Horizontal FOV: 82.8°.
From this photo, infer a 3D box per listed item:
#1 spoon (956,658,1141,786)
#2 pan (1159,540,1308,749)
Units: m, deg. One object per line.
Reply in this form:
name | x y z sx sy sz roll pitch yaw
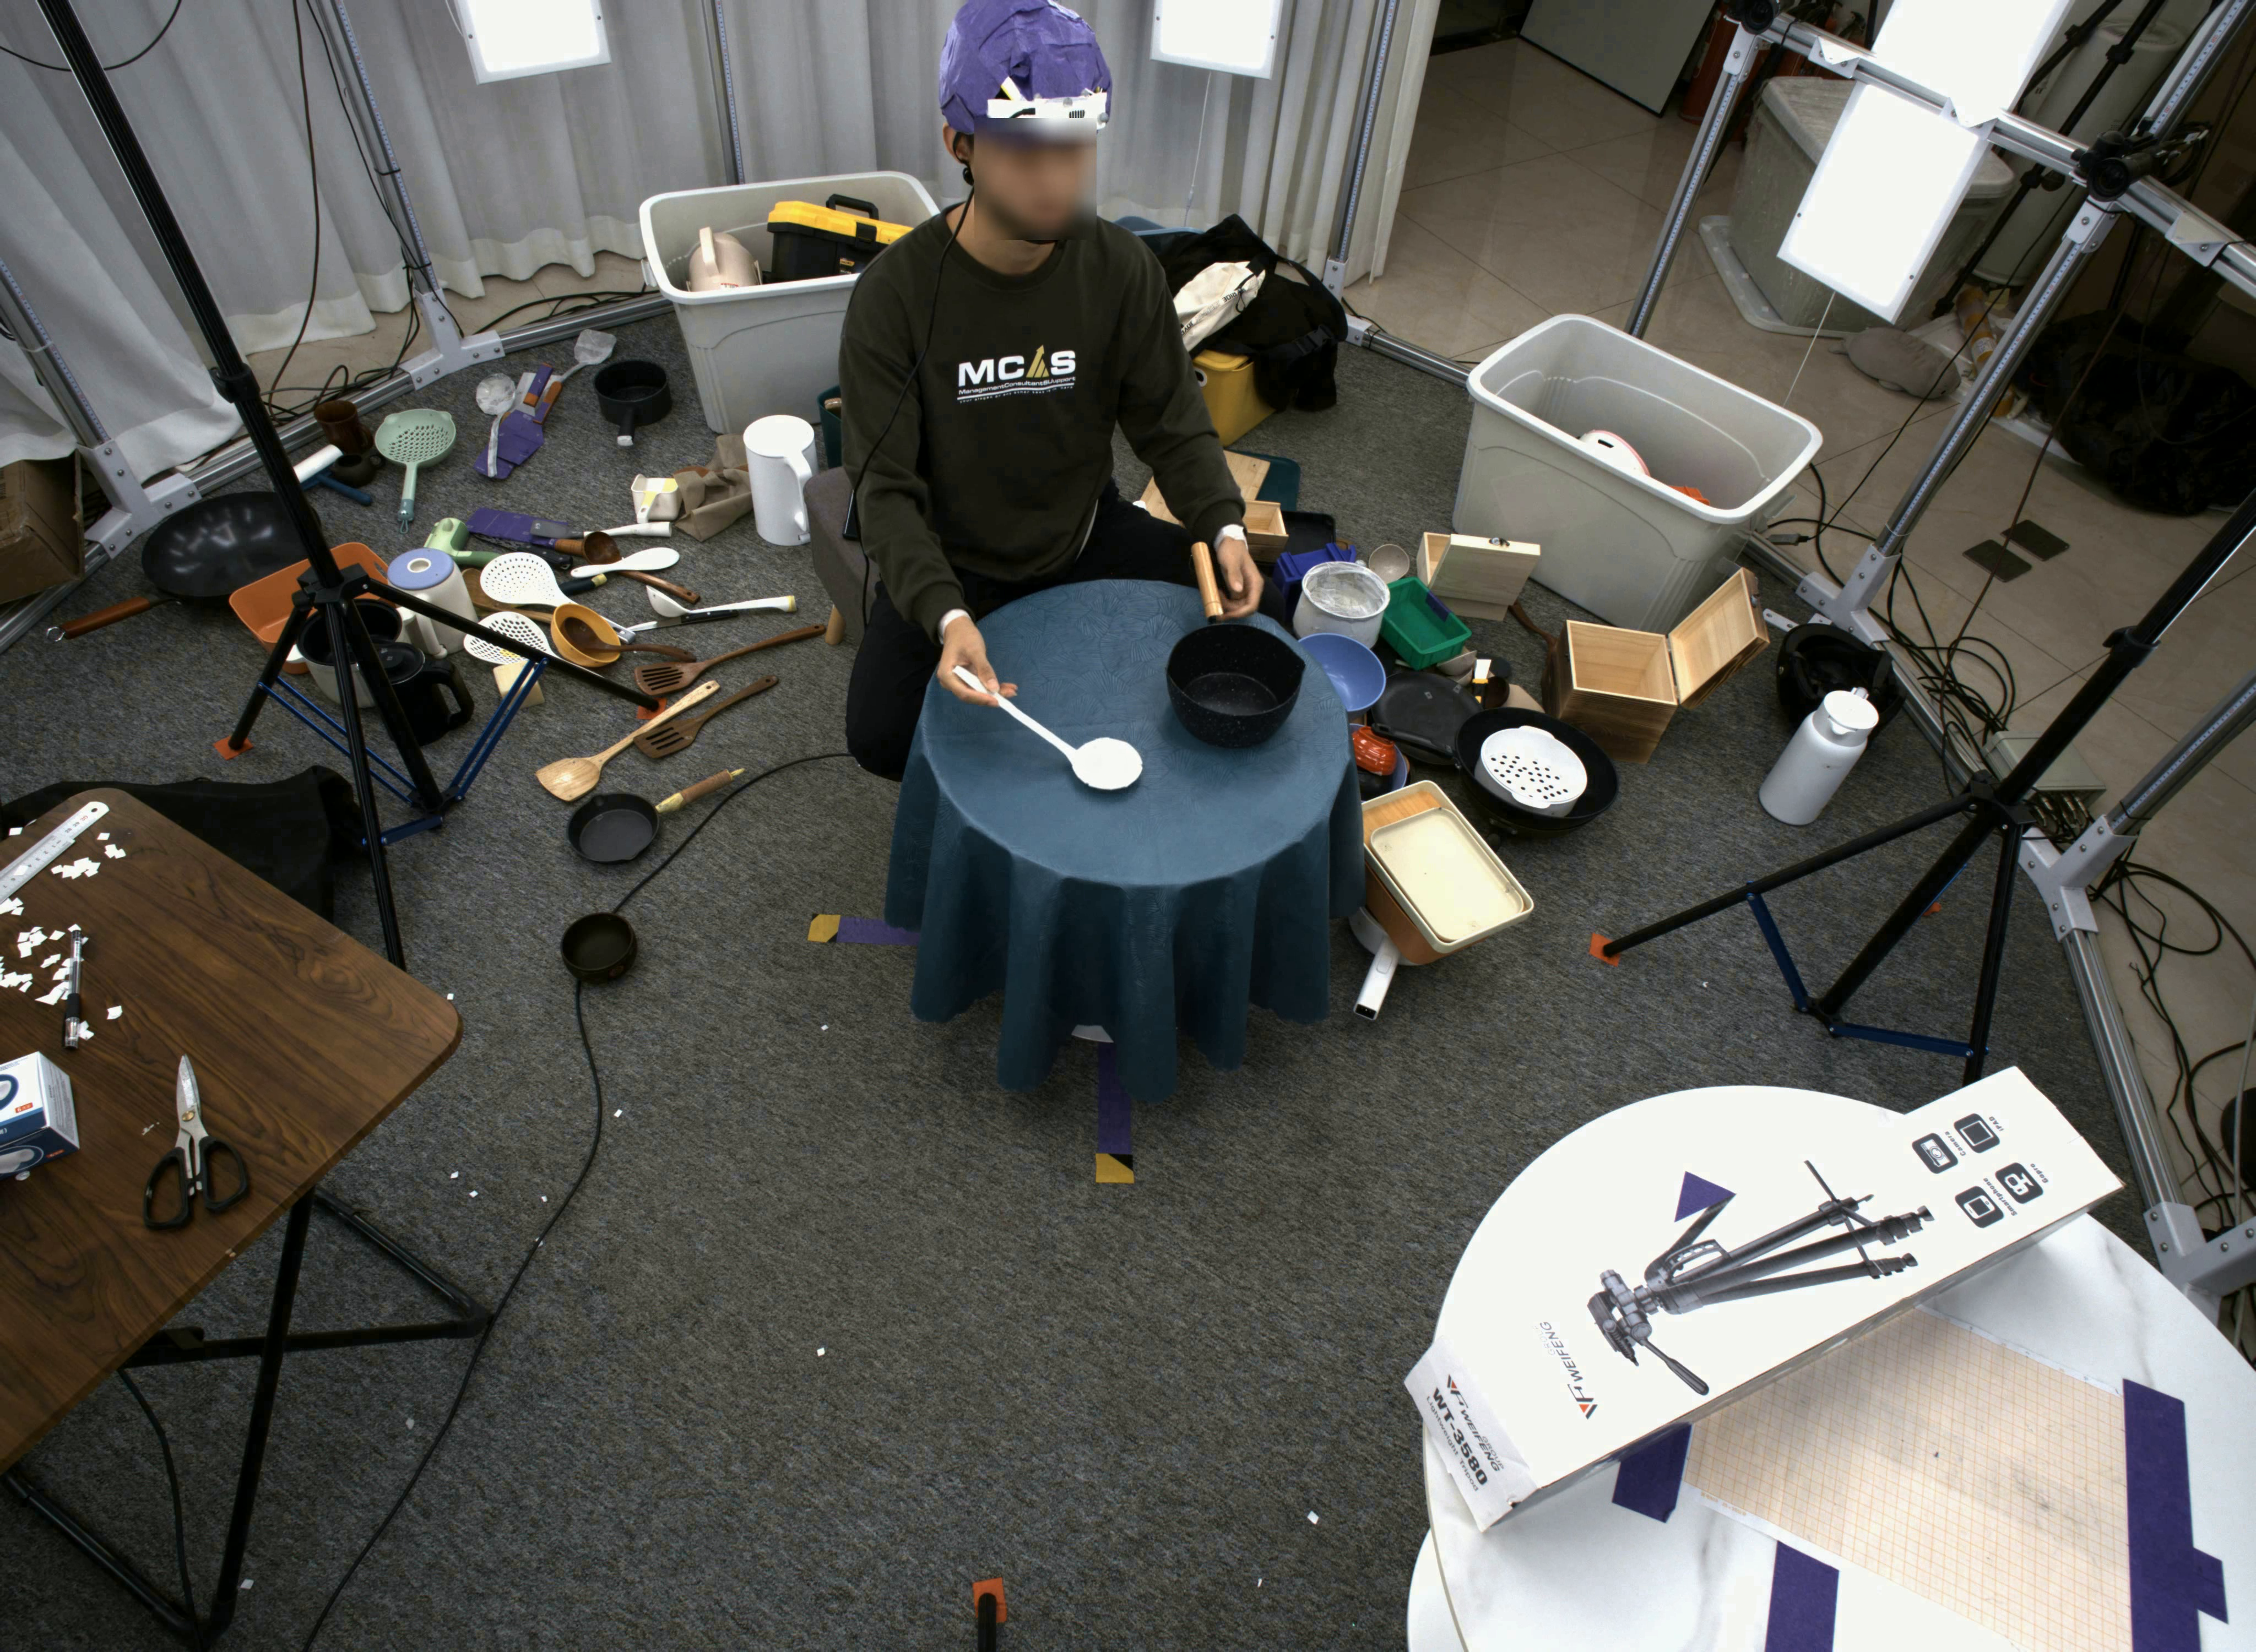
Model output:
spoon | -0.103 -0.147 1.696 0.275 0.058 0.103 39 43 -14
pan | 0.131 -0.259 1.832 0.207 0.105 0.351 -7 51 -8
